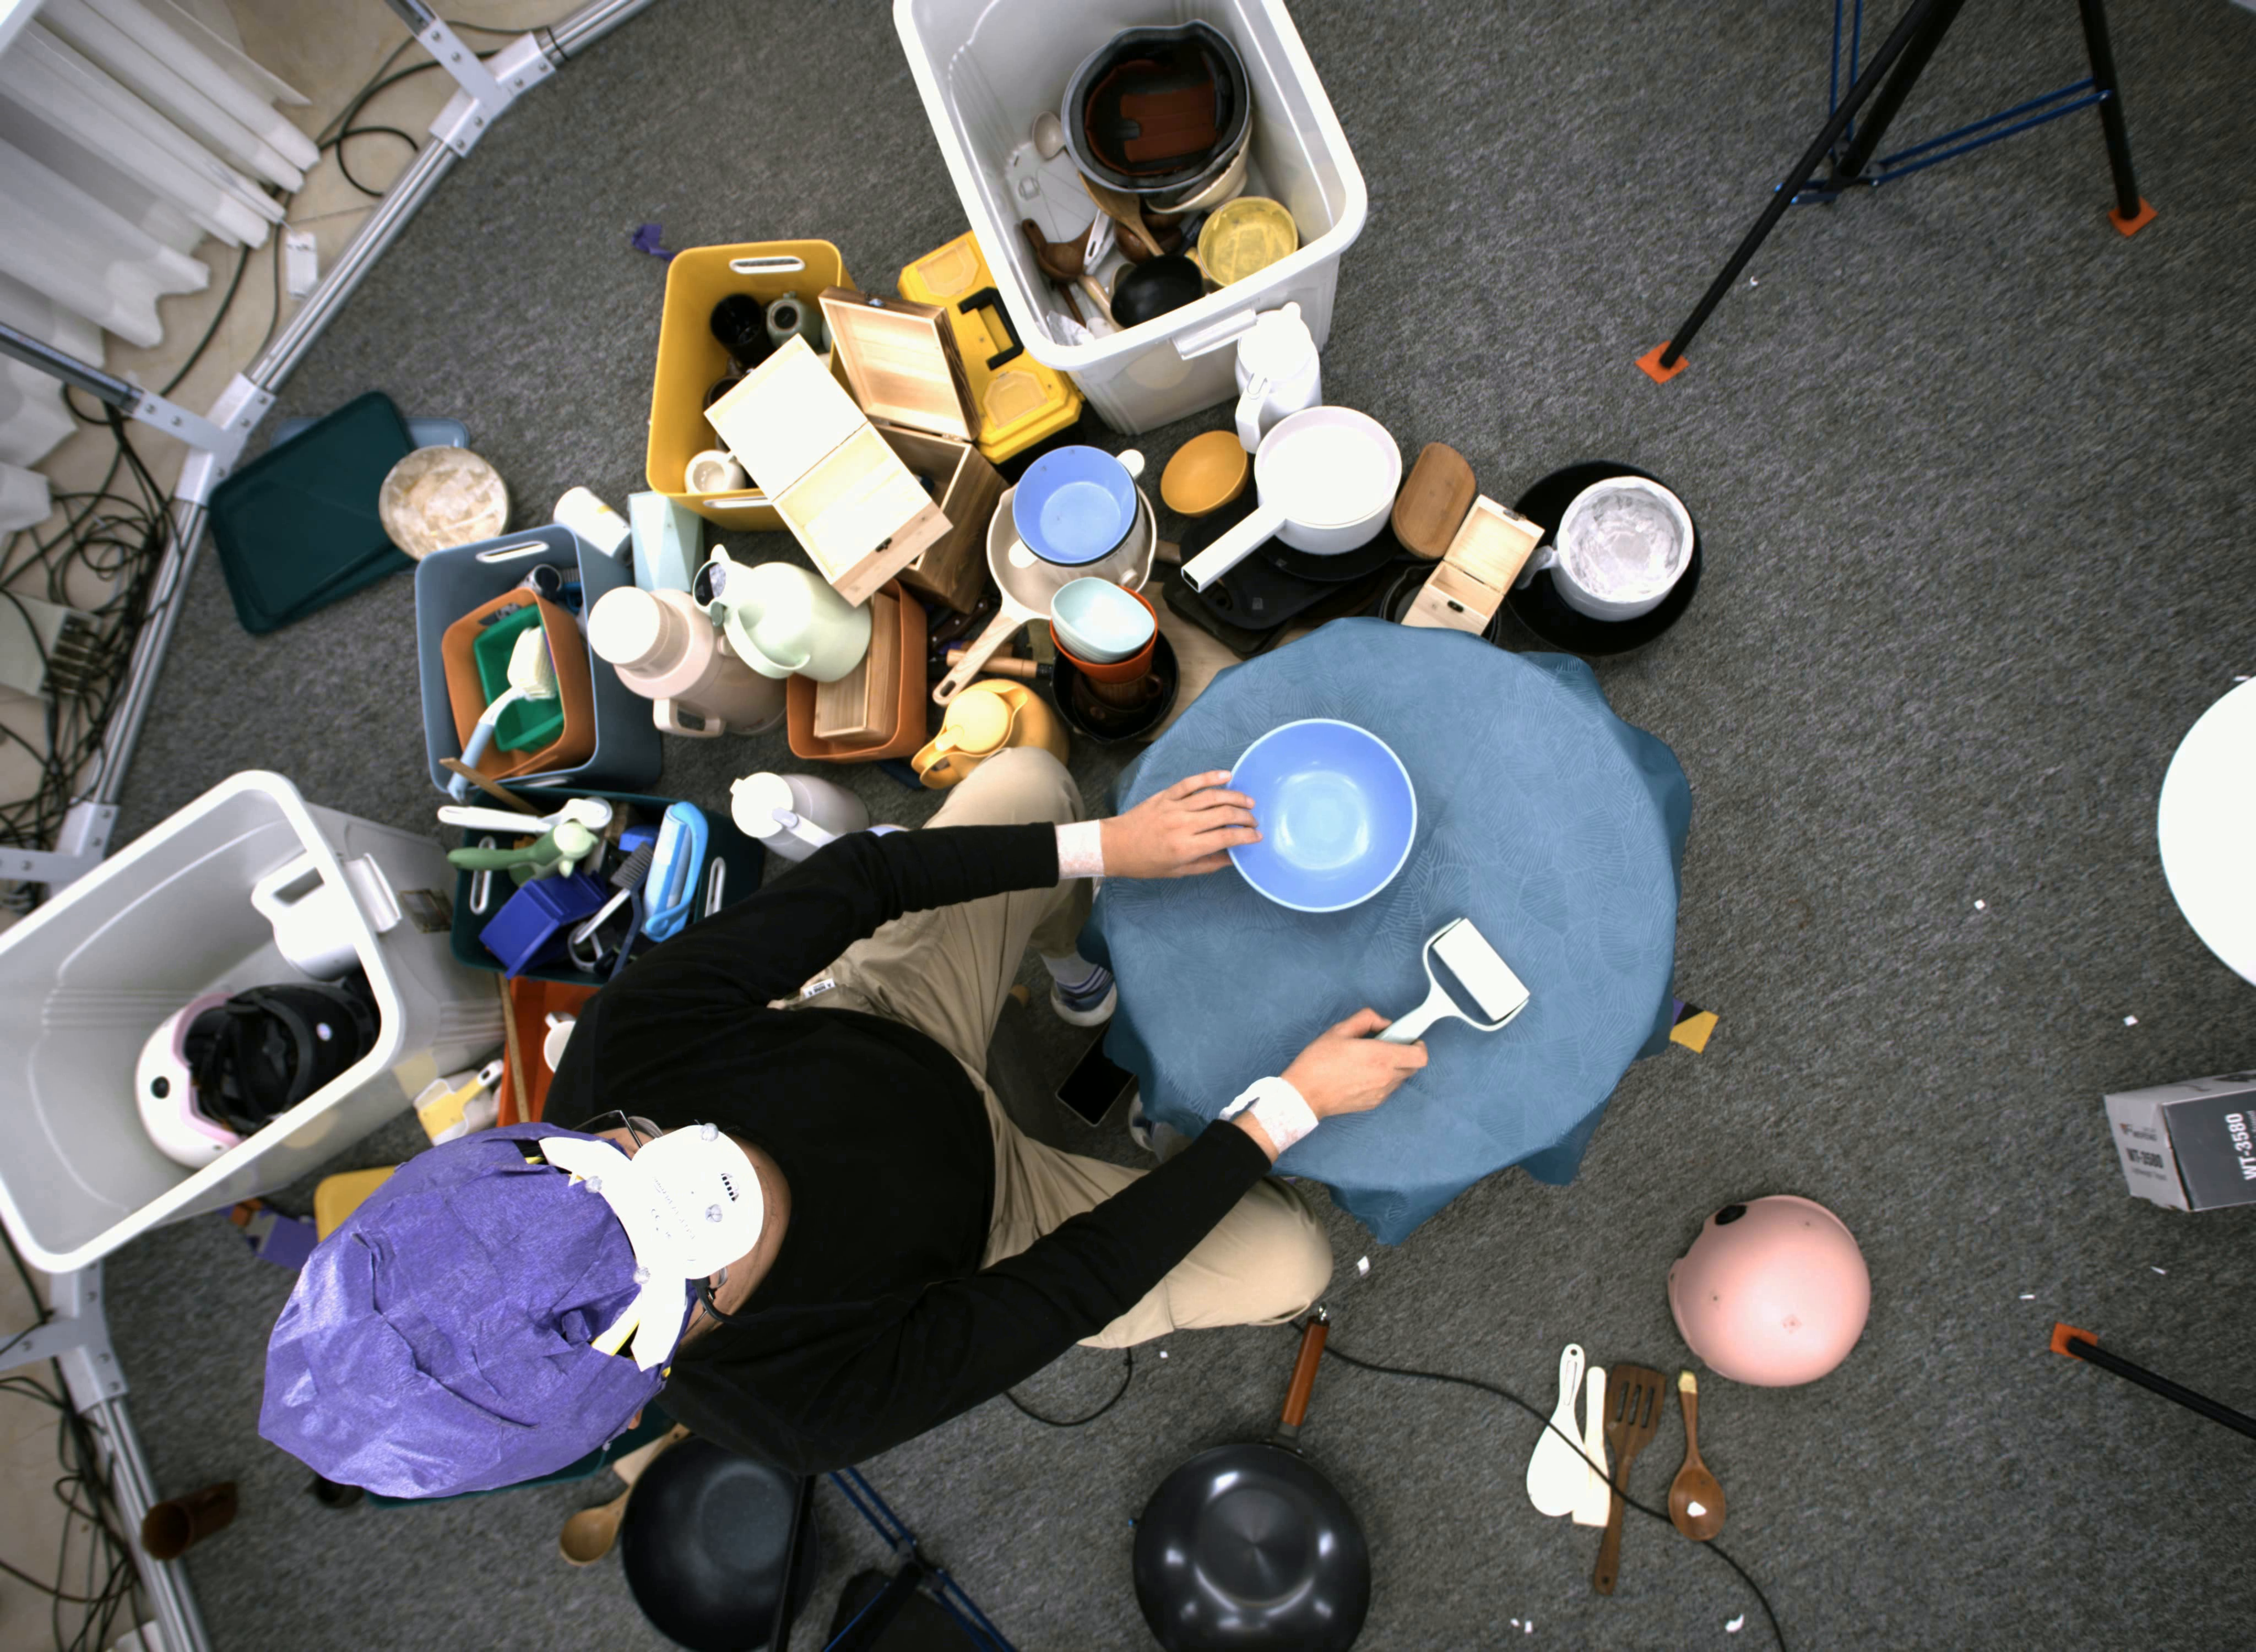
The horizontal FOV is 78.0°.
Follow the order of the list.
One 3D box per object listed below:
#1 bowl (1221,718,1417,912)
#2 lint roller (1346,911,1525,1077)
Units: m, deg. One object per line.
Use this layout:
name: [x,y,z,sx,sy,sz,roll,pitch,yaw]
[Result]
bowl: [0.198,-0.008,1.429,0.197,0.095,0.196,-1,87,10]
lint roller: [0.300,0.185,1.417,0.198,0.048,0.116,-40,82,1]
